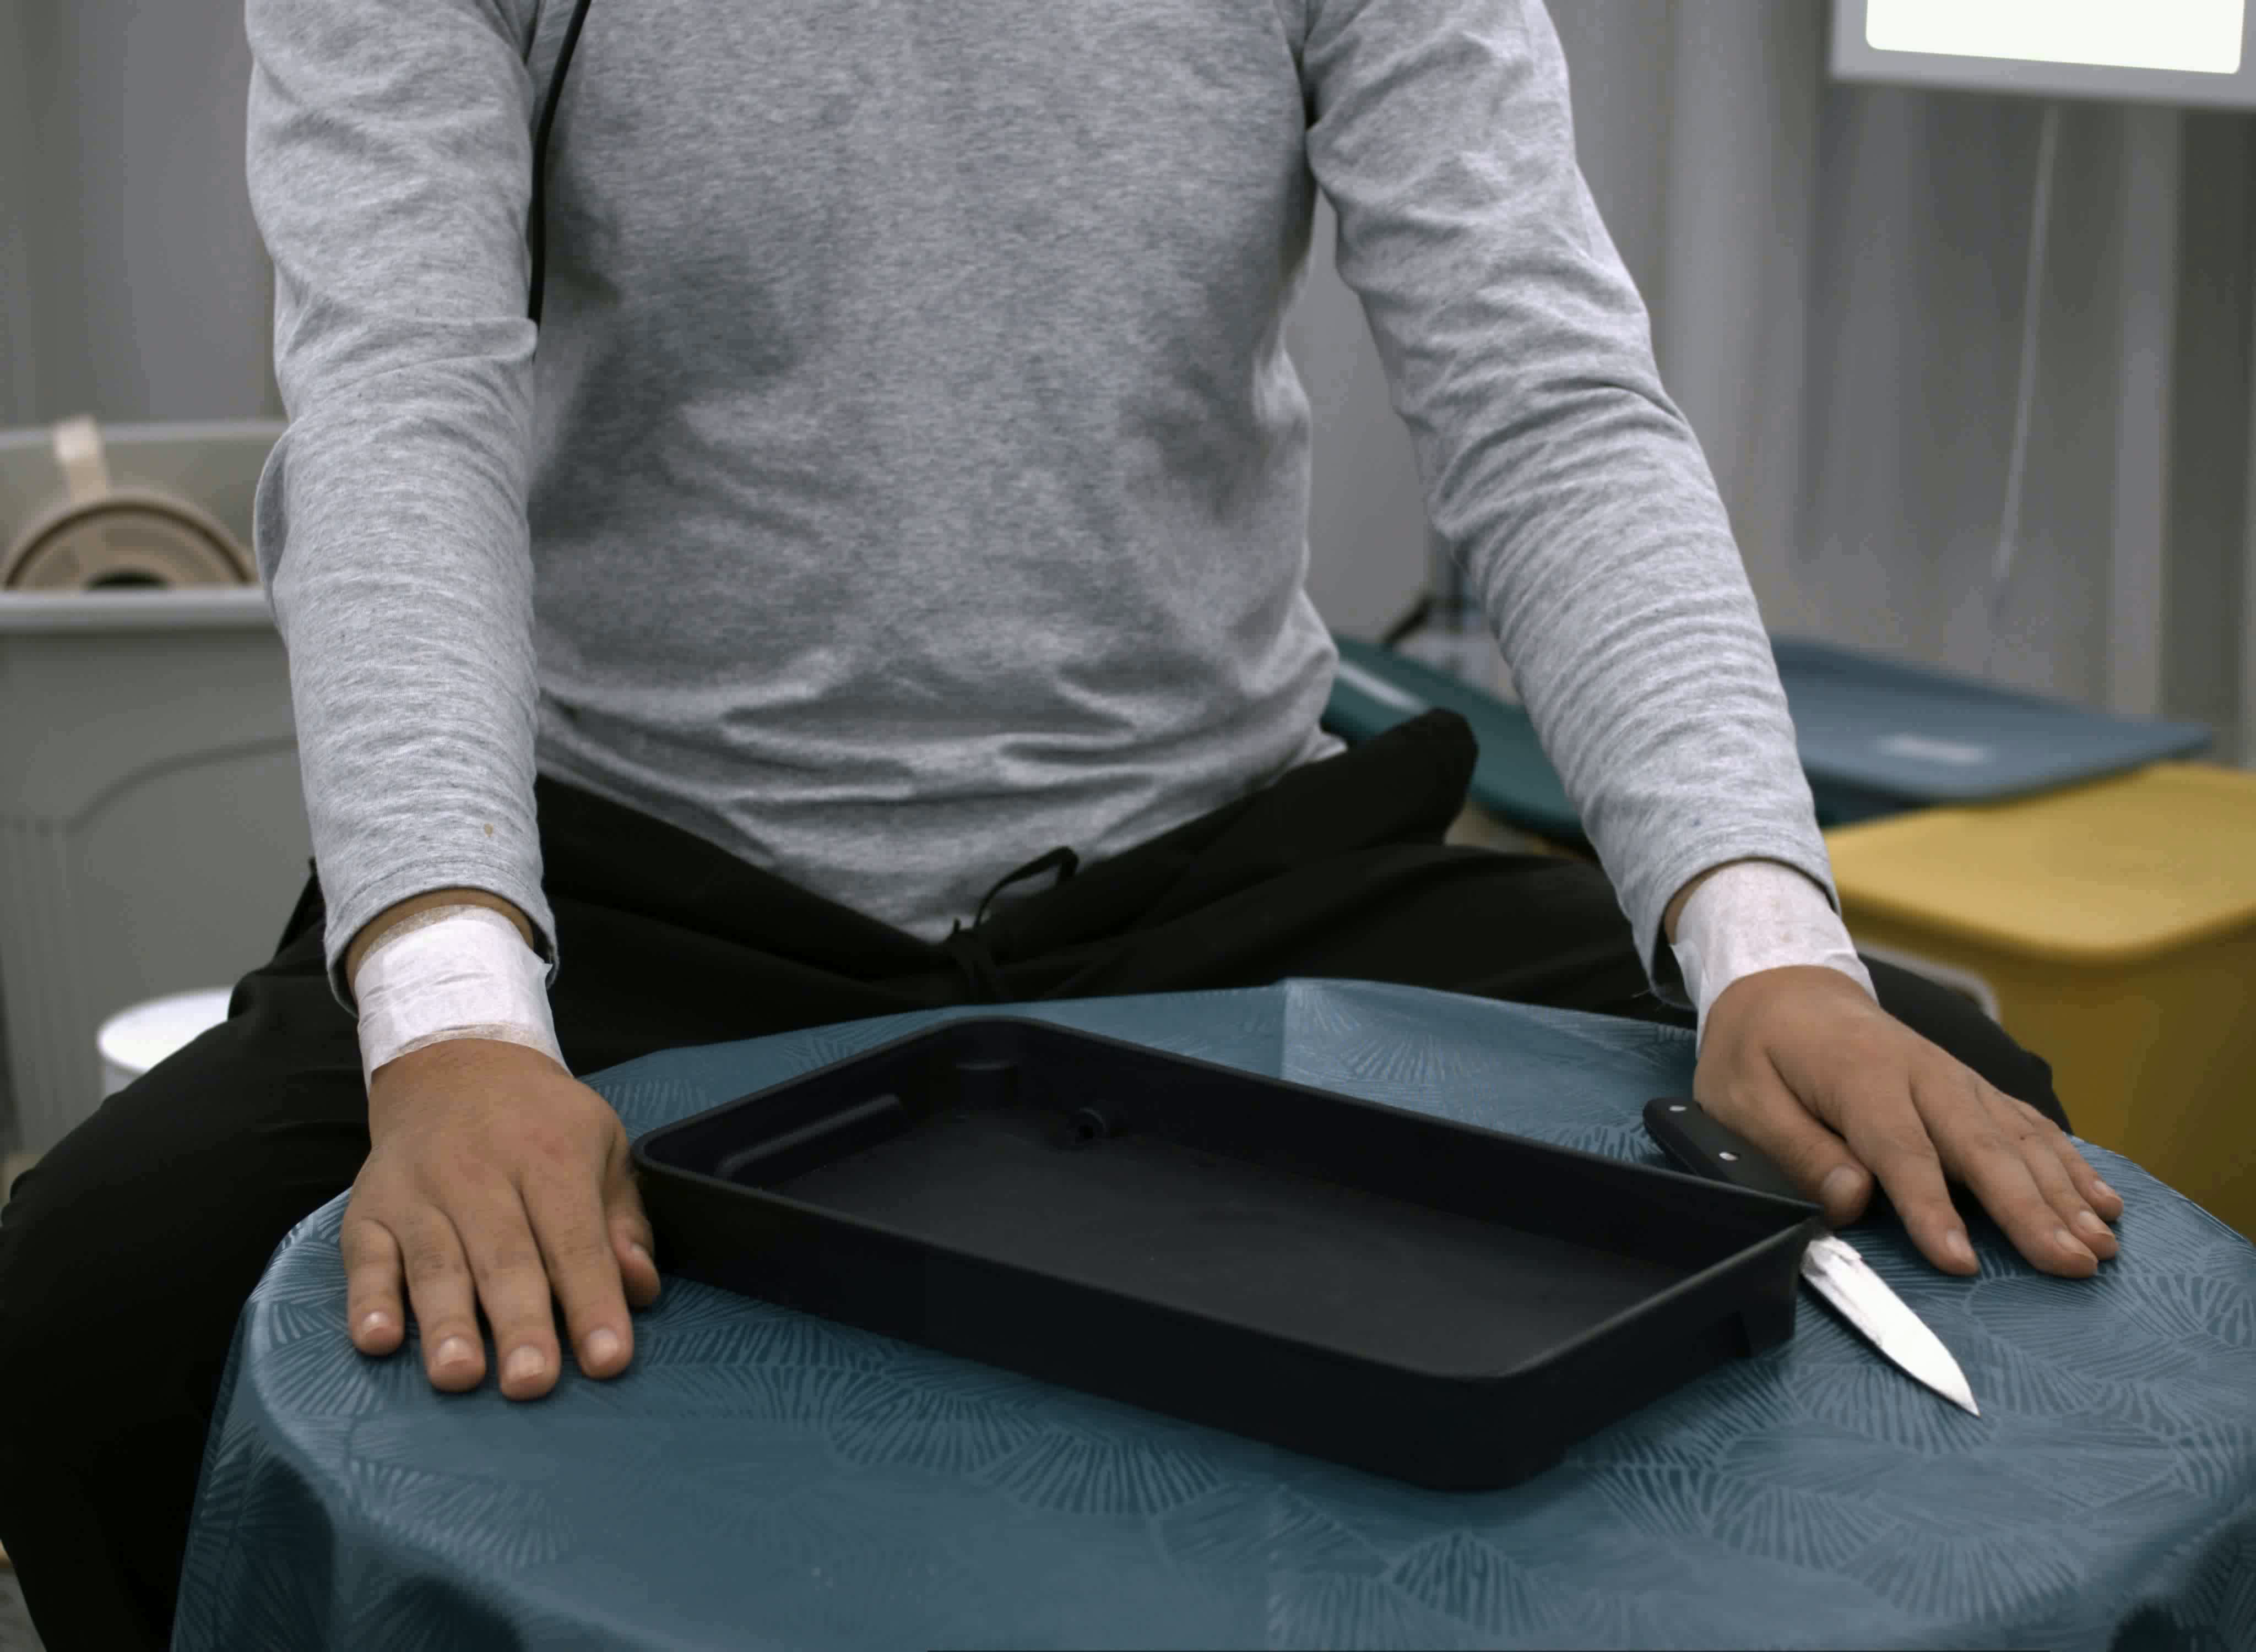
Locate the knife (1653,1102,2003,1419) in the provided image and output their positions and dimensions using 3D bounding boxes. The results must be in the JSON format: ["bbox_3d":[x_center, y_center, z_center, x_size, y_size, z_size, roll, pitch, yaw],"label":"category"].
[{"bbox_3d":[0.203,0.128,1.556,0.024,0.016,0.235,-3,18,-16],"label":"knife"}]

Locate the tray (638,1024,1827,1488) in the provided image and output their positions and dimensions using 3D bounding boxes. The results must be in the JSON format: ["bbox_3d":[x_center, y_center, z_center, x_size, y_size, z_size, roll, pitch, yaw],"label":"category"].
[{"bbox_3d":[0.028,0.120,1.534,0.314,0.037,0.185,10,18,34],"label":"tray"}]
